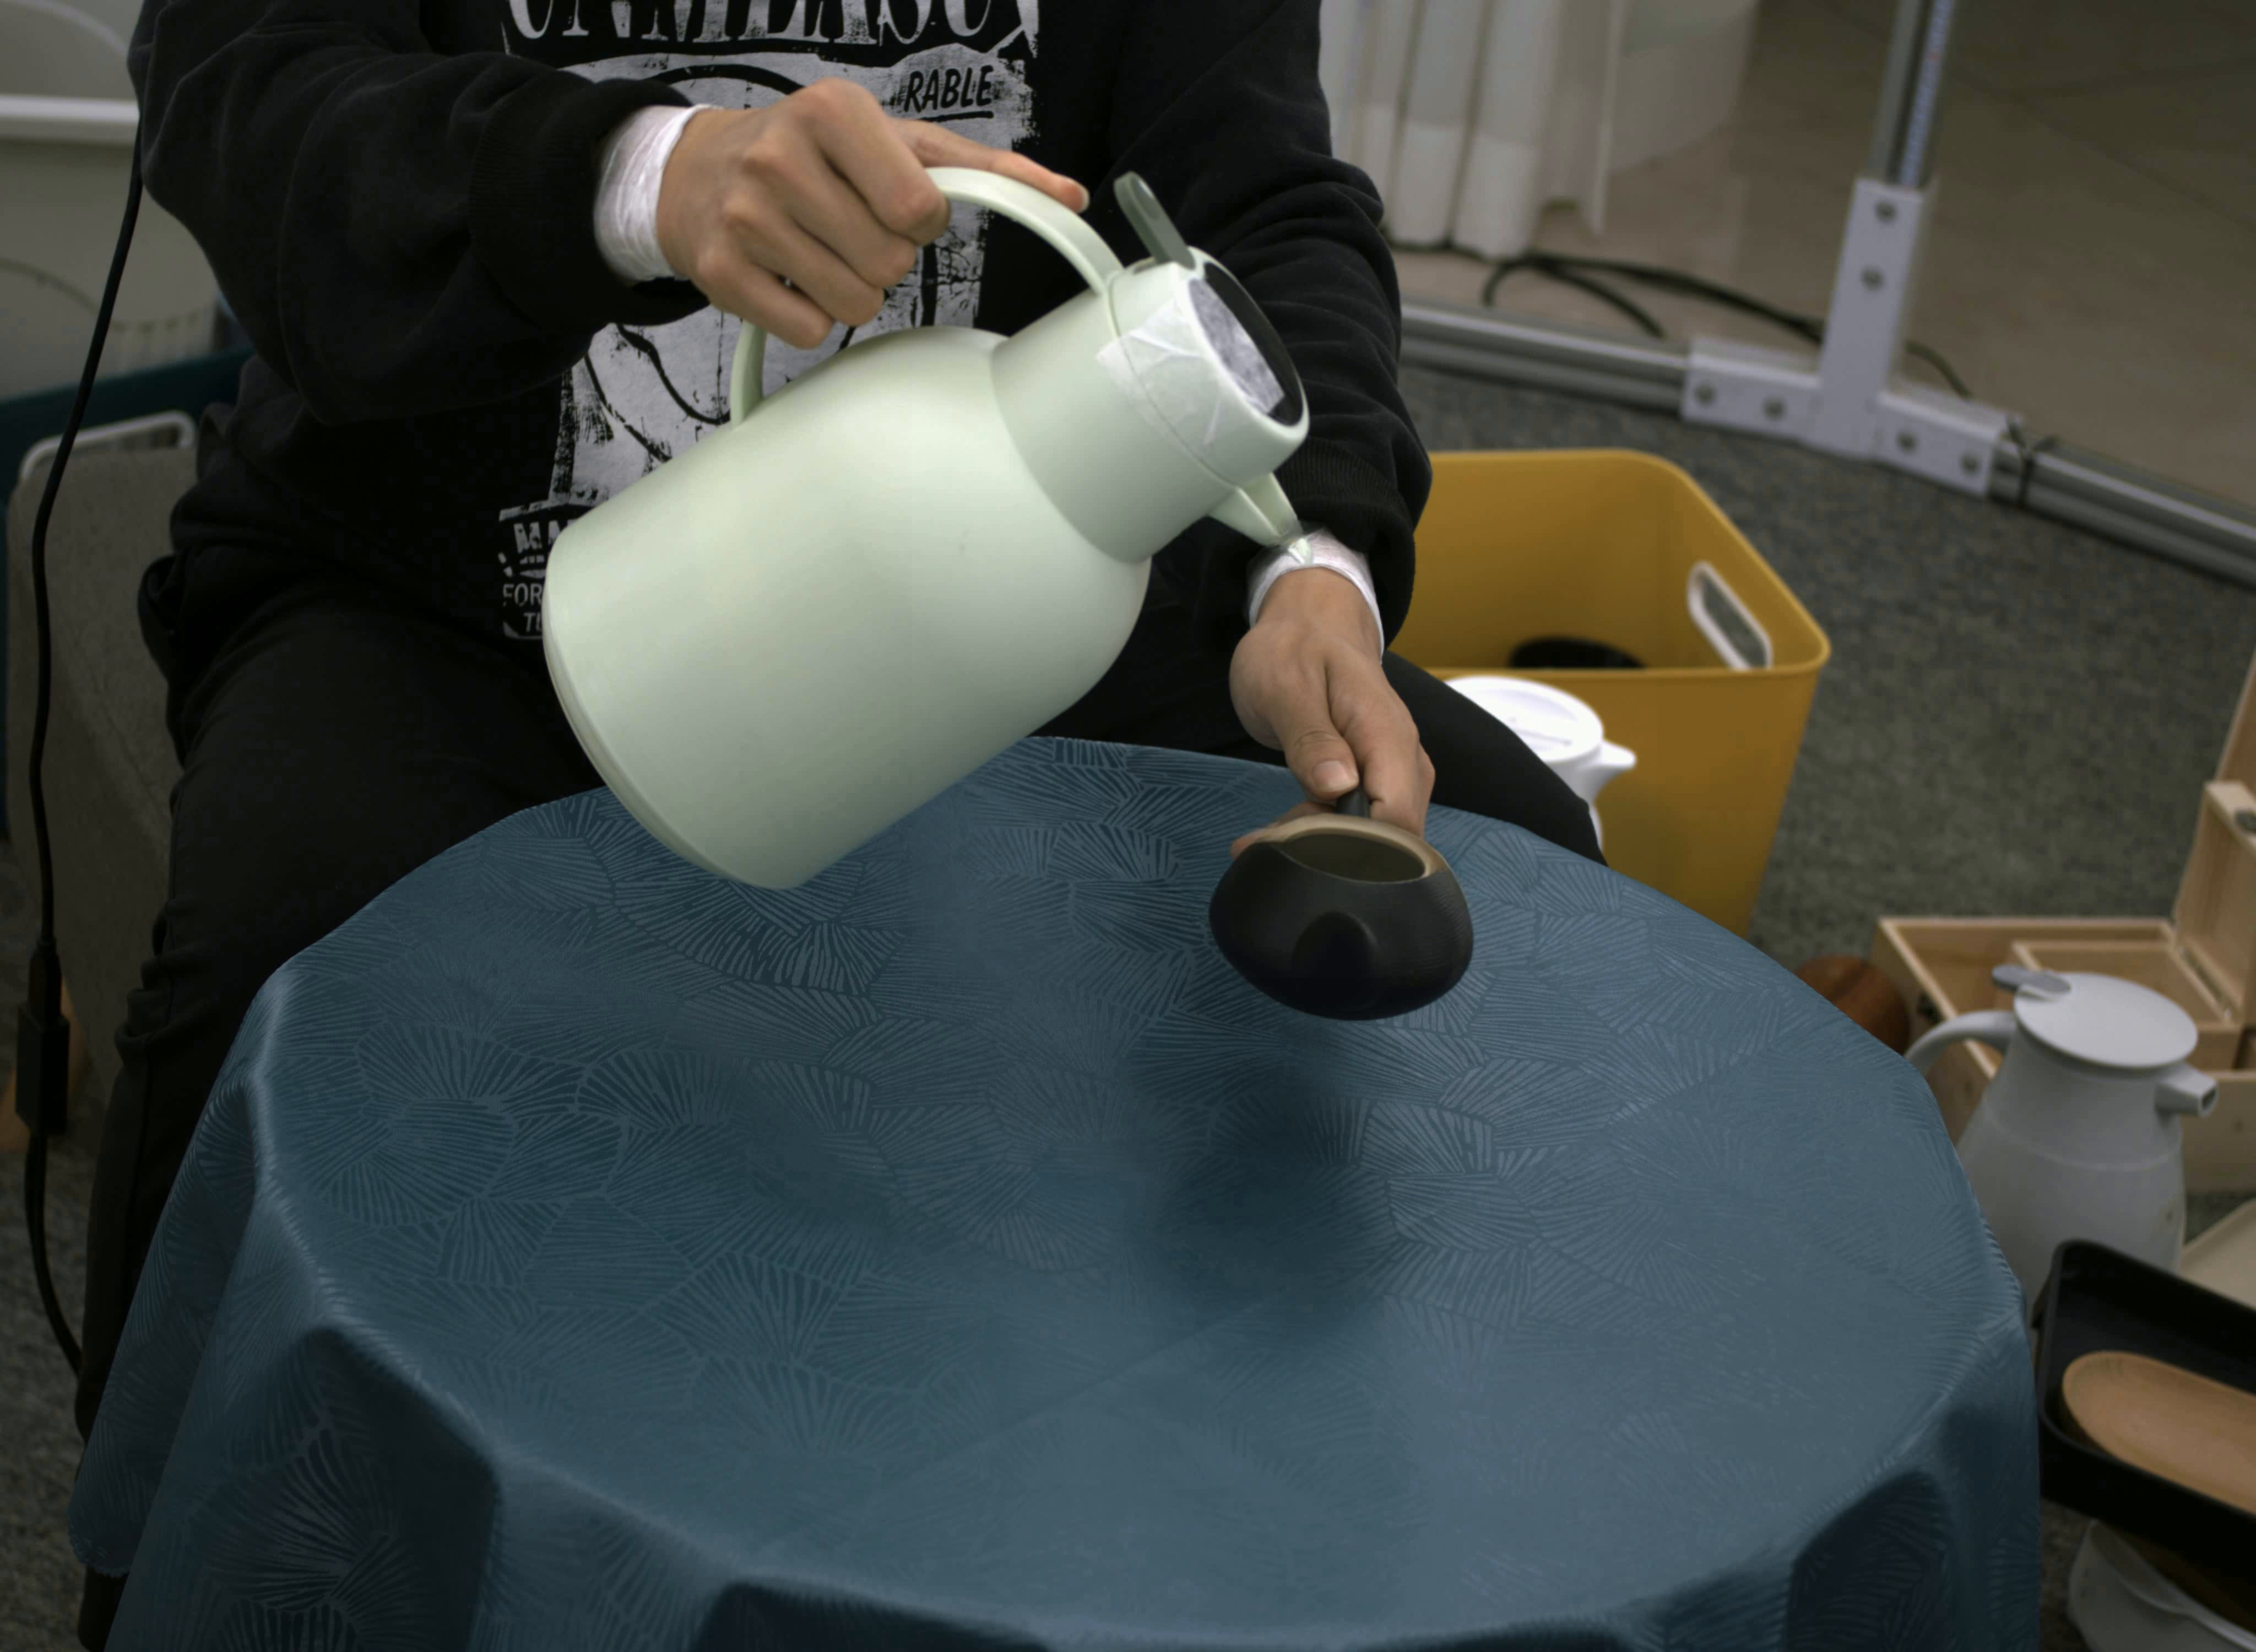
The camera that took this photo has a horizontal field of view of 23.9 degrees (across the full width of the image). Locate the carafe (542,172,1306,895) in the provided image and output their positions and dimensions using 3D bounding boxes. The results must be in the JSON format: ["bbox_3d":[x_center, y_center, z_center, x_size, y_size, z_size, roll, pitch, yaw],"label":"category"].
[{"bbox_3d":[-0.072,-0.107,1.770,0.186,0.257,0.144,51,24,-8],"label":"carafe"}]

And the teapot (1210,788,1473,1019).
[{"bbox_3d":[0.073,0.031,1.812,0.090,0.053,0.134,10,23,-1],"label":"teapot"}]
